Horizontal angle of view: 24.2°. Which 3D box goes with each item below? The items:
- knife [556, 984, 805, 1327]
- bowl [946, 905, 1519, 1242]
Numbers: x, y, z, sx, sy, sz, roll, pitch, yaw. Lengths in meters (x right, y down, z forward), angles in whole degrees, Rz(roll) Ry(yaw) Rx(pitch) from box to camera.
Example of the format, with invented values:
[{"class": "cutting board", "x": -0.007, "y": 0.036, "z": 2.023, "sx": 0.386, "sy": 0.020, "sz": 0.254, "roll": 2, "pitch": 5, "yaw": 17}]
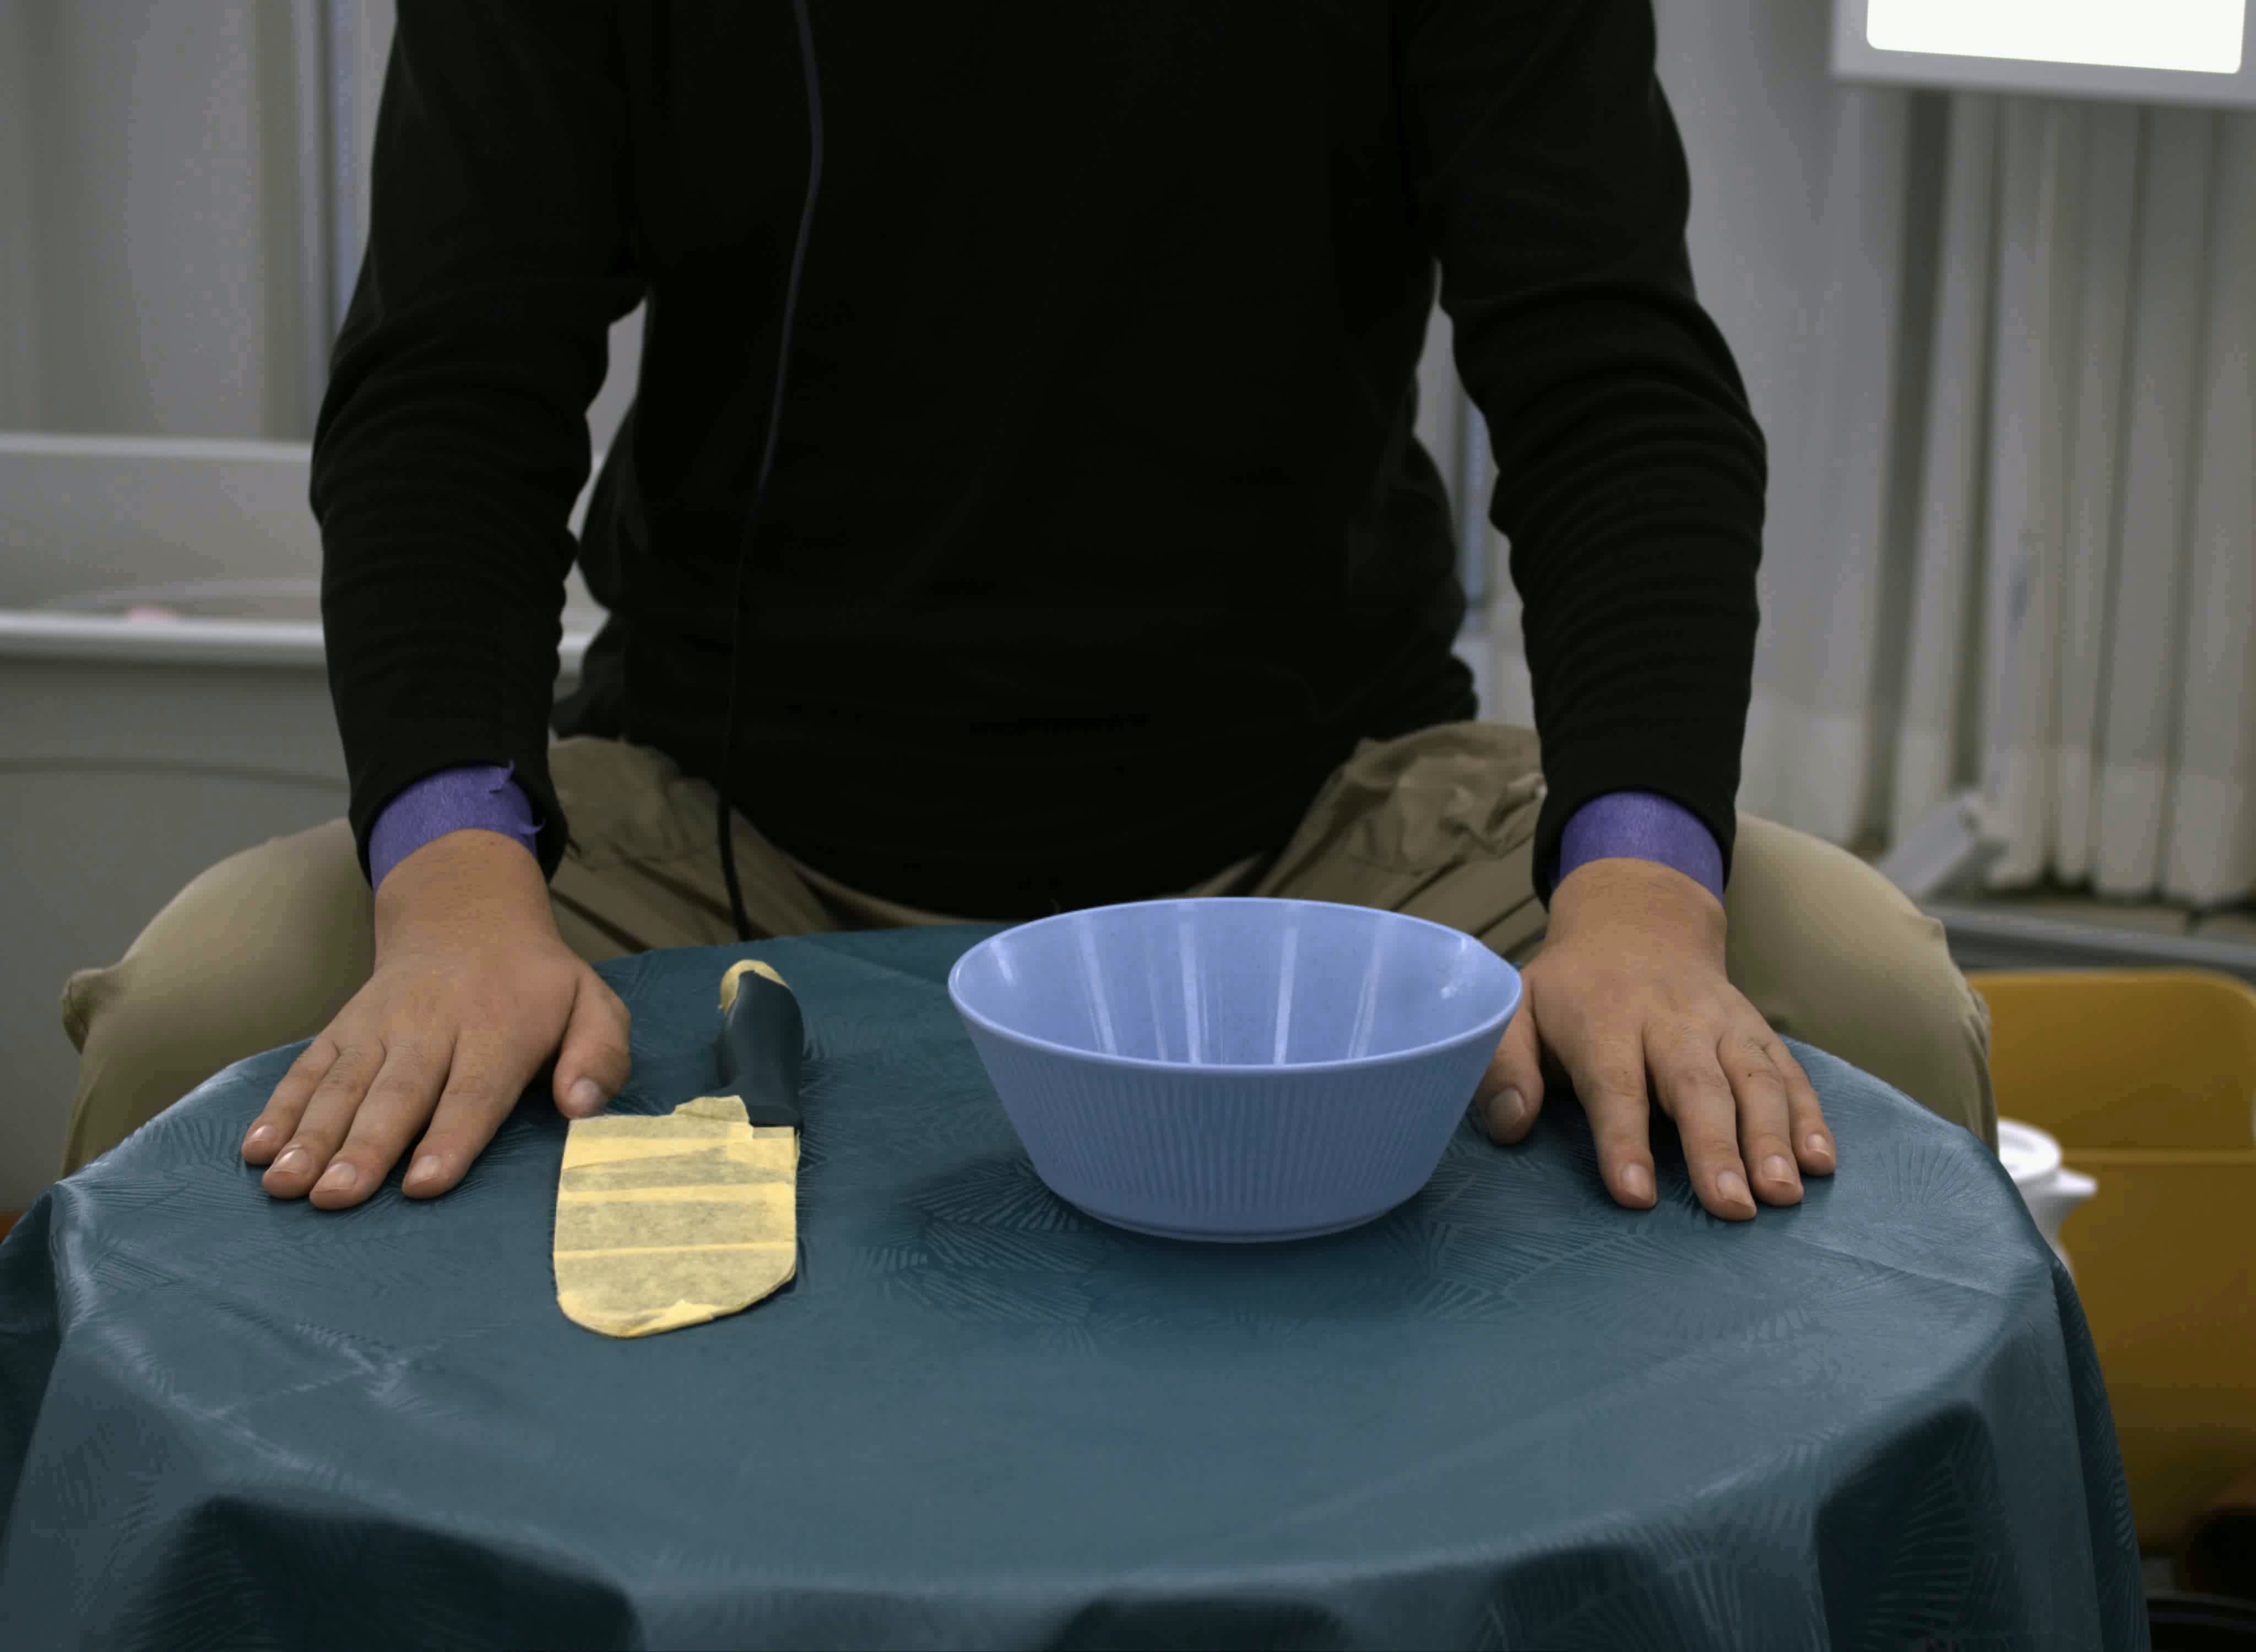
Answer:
[{"class": "knife", "x": -0.136, "y": 0.101, "z": 1.633, "sx": 0.081, "sy": 0.027, "sz": 0.288, "roll": 2, "pitch": 16, "yaw": -1}, {"class": "bowl", "x": 0.032, "y": 0.078, "z": 1.619, "sx": 0.175, "sy": 0.071, "sz": 0.175, "roll": 0, "pitch": 16, "yaw": 1}]
